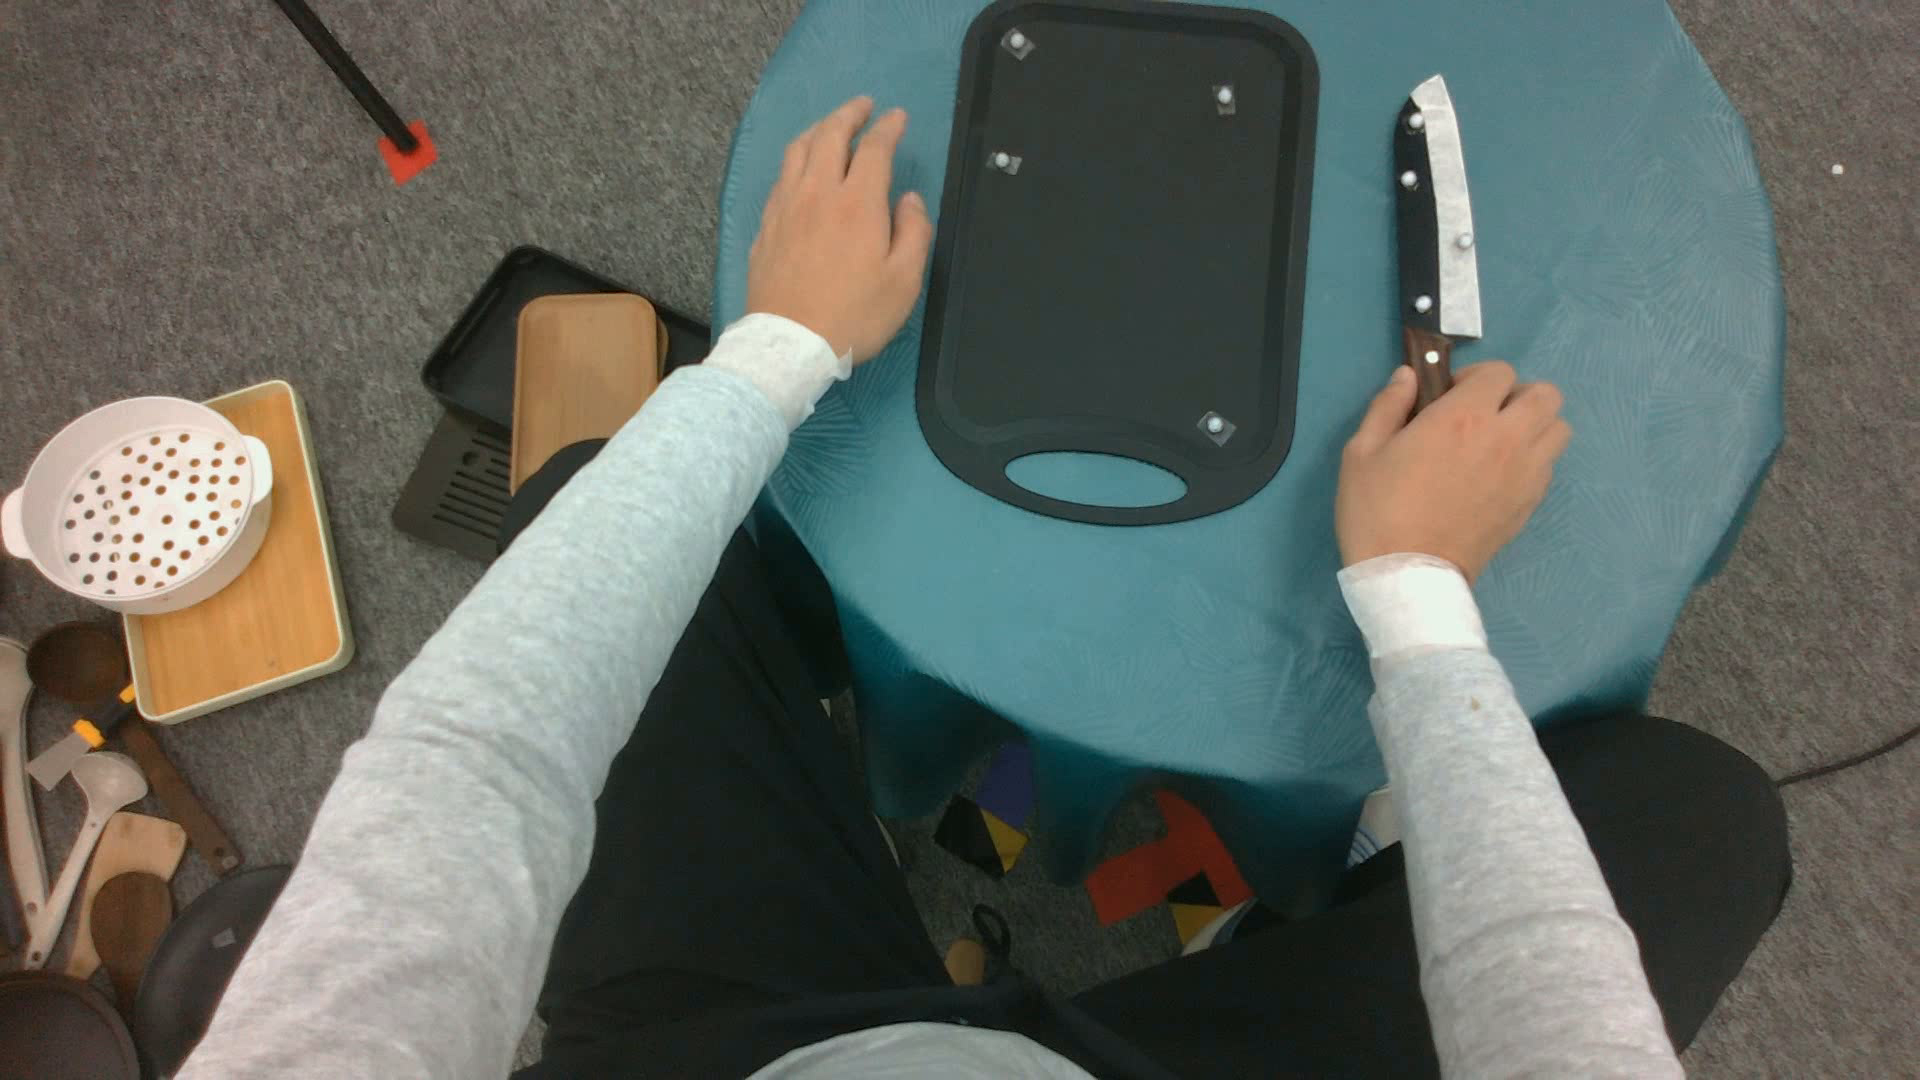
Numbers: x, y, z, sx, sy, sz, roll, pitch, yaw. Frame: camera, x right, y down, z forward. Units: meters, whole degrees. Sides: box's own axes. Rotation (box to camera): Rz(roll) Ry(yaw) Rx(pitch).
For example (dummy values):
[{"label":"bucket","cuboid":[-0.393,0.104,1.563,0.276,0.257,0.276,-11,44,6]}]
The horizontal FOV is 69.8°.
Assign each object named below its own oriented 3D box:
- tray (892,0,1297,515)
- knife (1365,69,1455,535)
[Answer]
[{"label":"tray","cuboid":[0.079,-0.171,0.780,0.211,0.010,0.326,7,75,2]},{"label":"knife","cuboid":[0.251,-0.140,0.766,0.050,0.020,0.290,6,72,-4]}]
